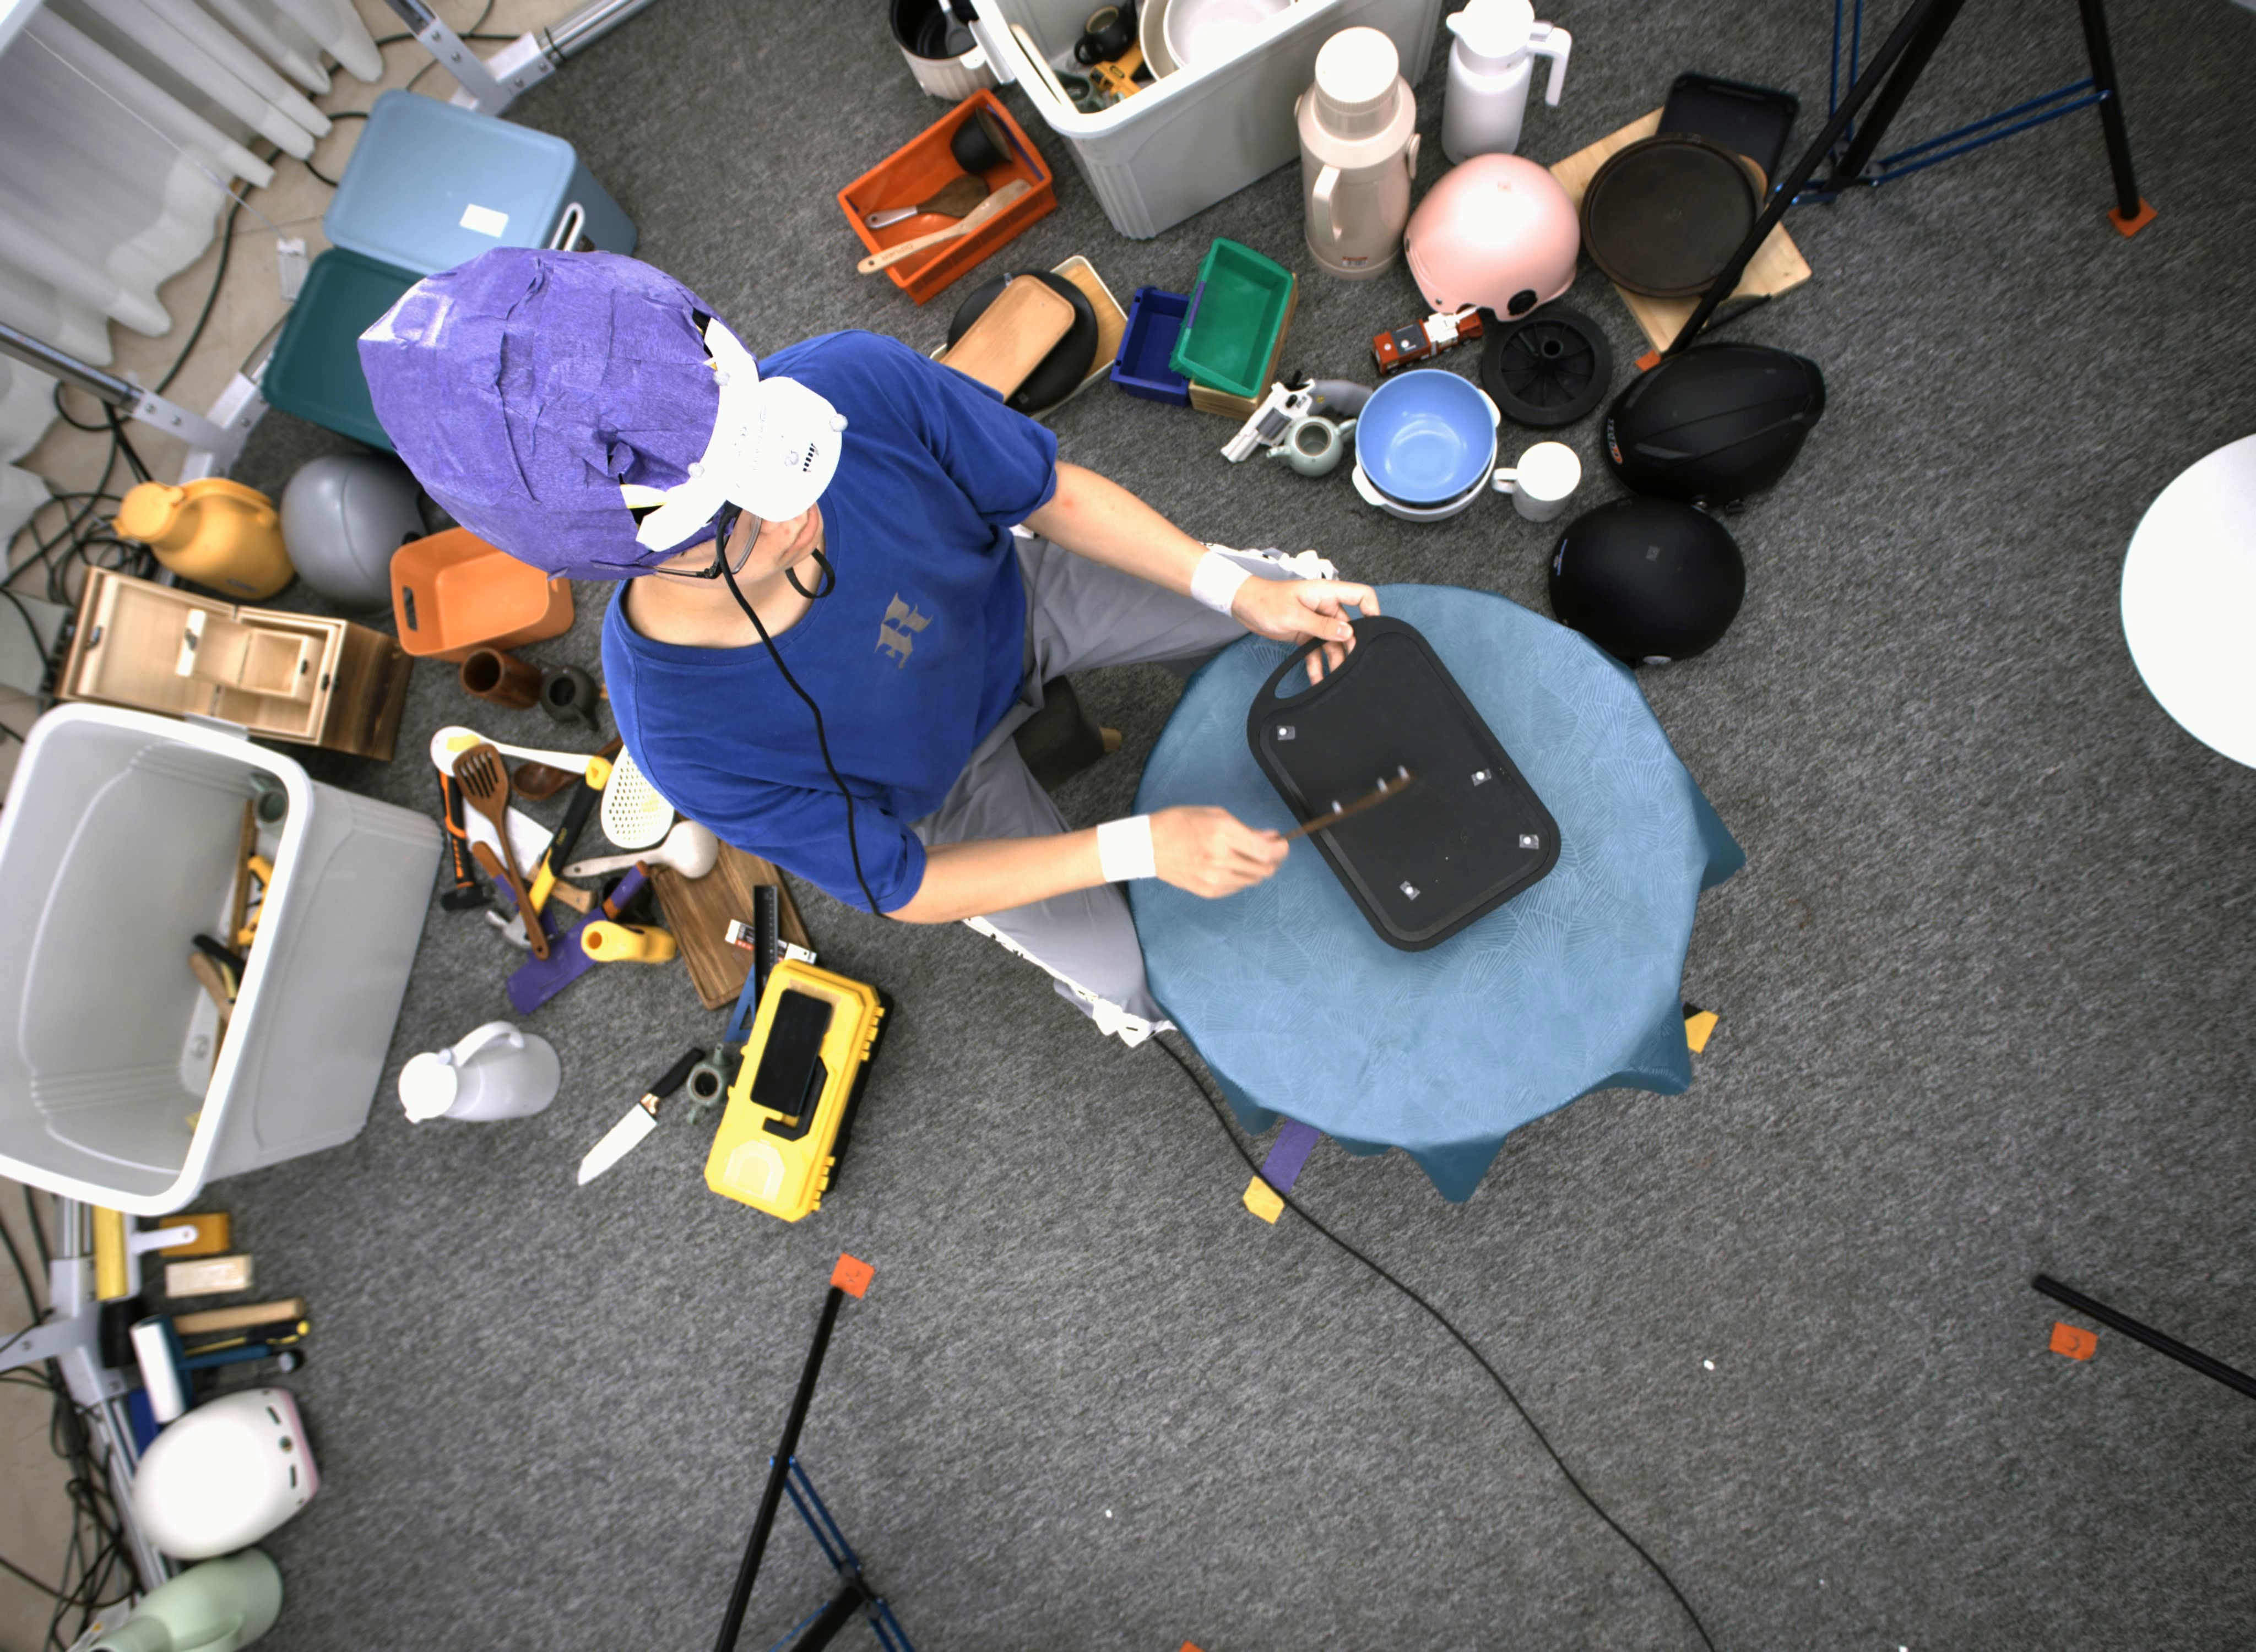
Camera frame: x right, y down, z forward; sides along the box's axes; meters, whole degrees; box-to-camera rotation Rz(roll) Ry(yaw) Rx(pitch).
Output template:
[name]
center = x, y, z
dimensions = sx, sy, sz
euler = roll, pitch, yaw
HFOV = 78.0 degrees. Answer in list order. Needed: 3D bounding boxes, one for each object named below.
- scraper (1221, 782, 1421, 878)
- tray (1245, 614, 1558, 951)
[scraper]
center = 0.185, 0.005, 1.325
dimensions = 0.213, 0.075, 0.011
euler = -25, 88, 15
[tray]
center = 0.261, -0.048, 1.363
dimensions = 0.214, 0.009, 0.325
euler = -35, 87, 23
